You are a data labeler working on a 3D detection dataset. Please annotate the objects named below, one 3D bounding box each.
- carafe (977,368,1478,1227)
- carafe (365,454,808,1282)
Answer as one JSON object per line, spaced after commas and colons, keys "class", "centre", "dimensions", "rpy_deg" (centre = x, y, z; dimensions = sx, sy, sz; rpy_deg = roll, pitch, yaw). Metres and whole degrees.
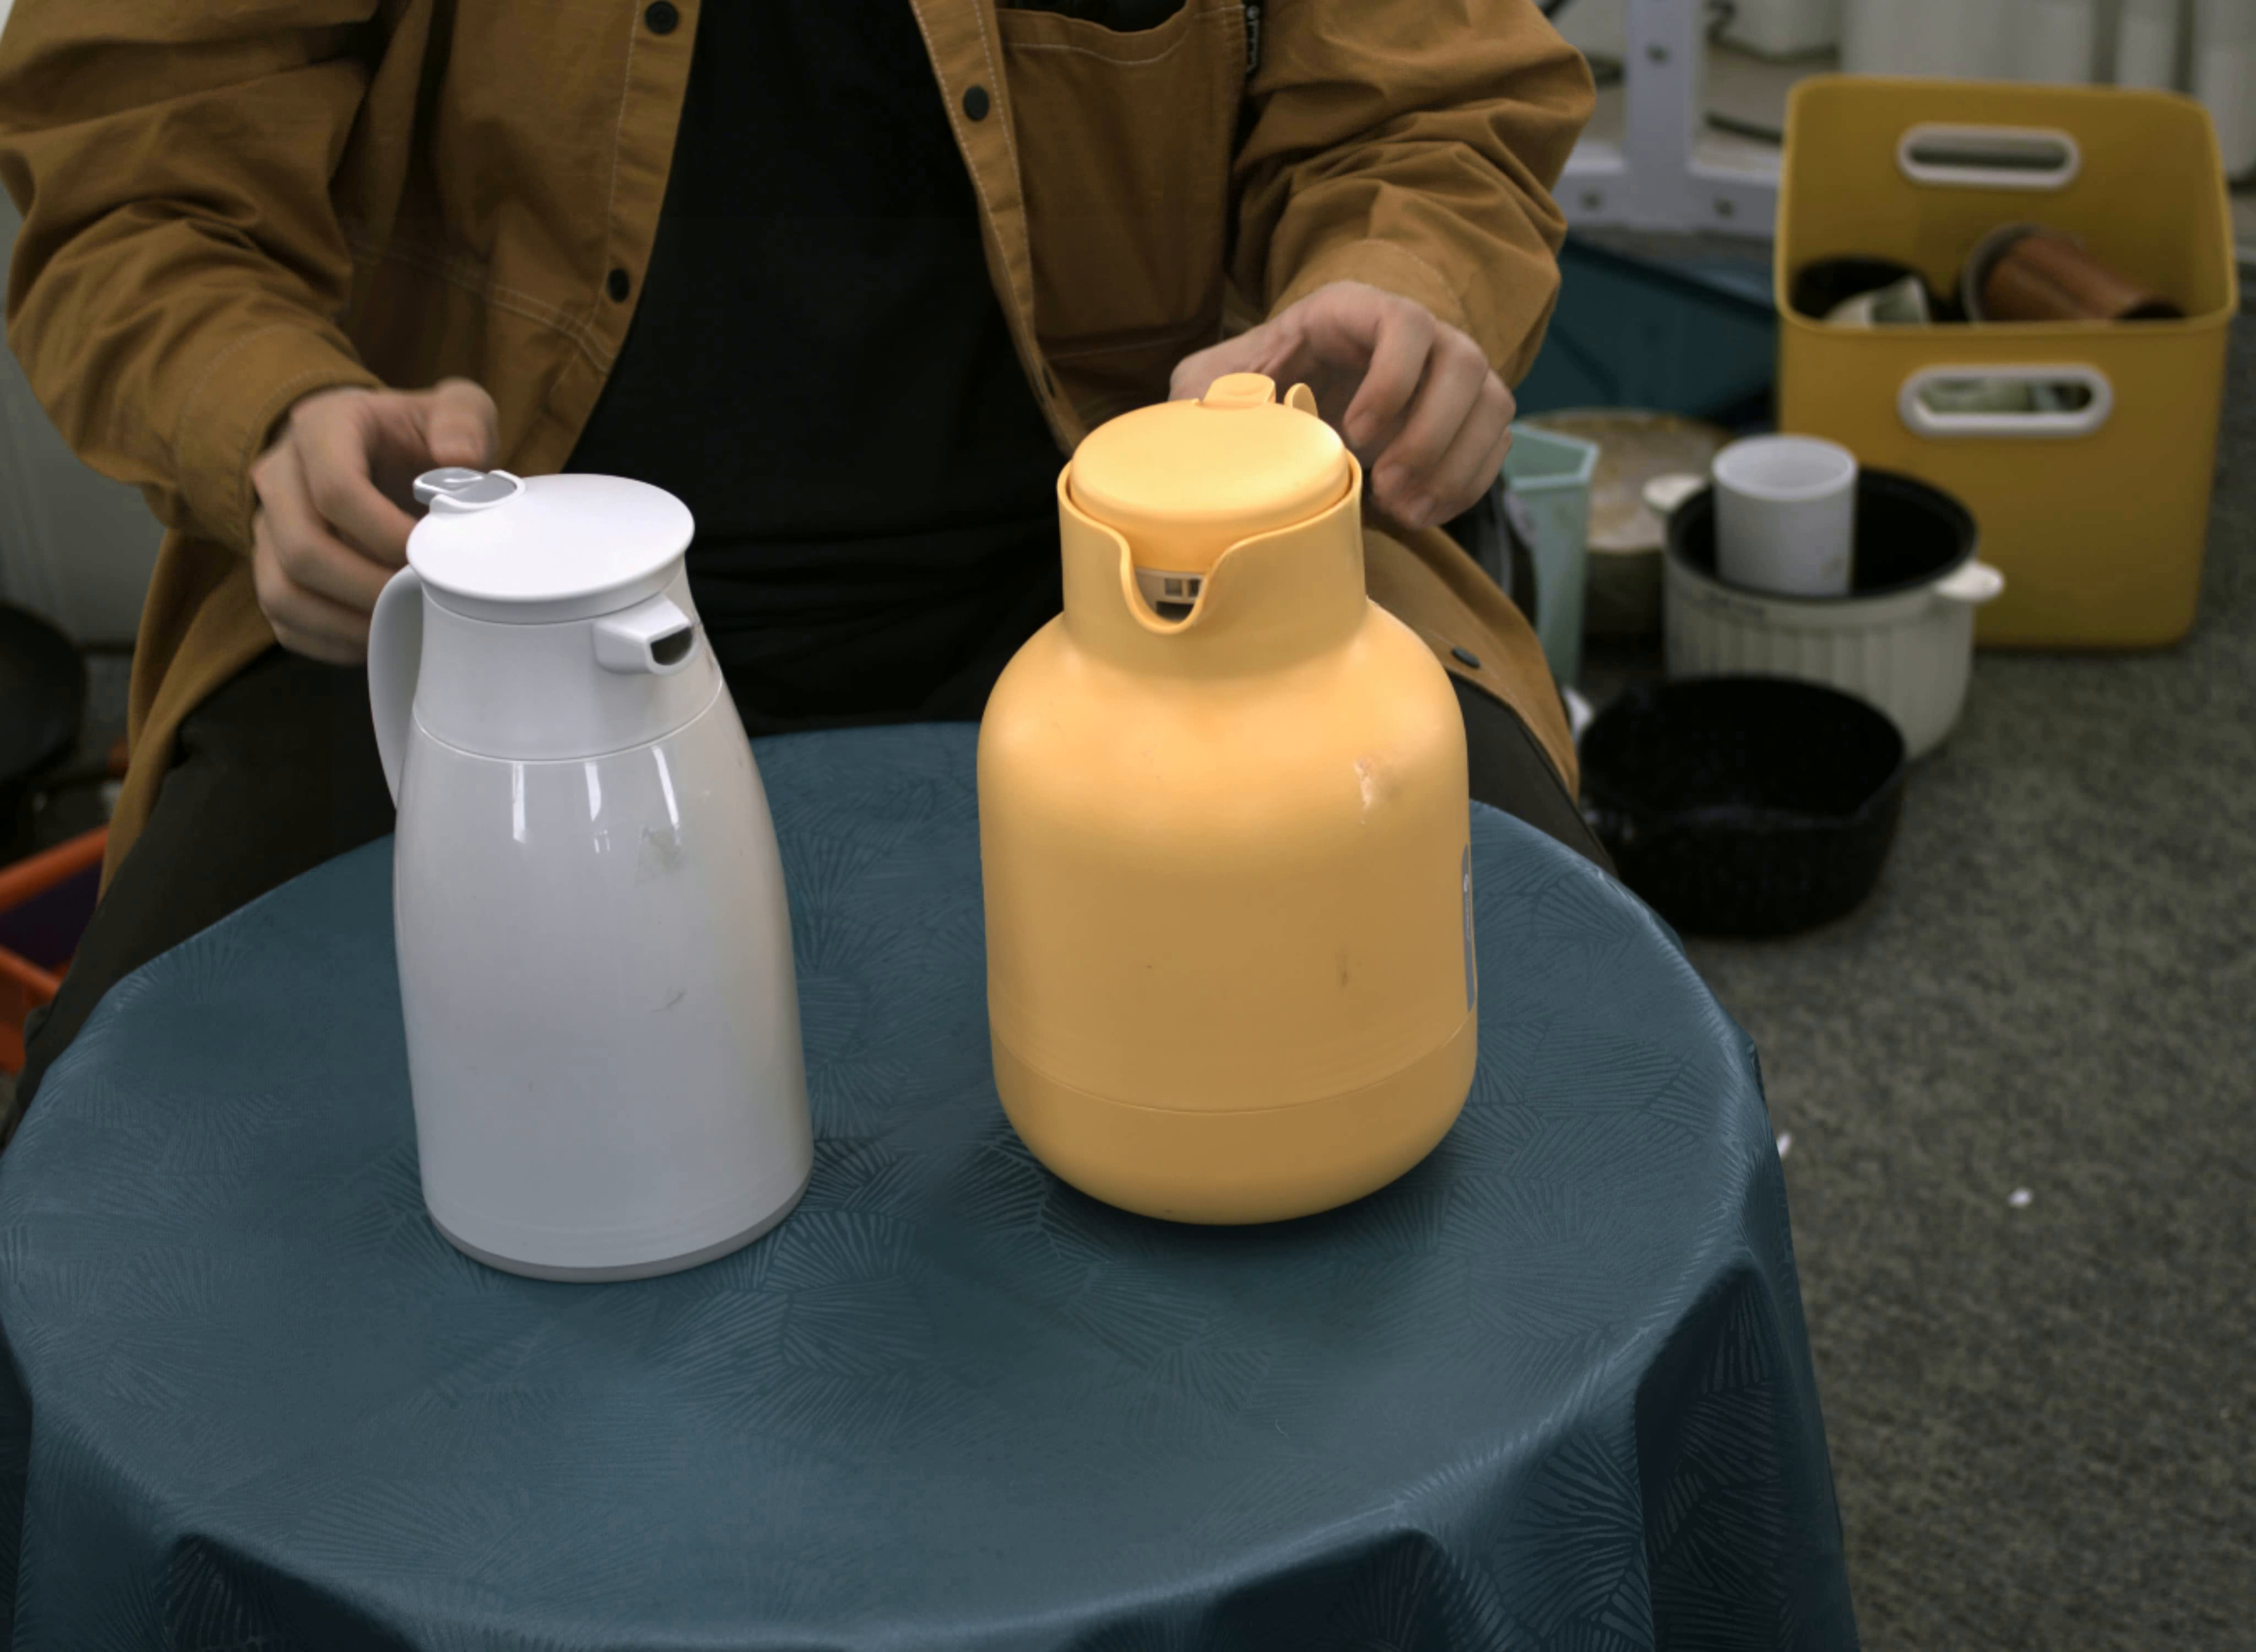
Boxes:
{"class": "carafe", "centre": [0.037, -0.019, 1.848], "dimensions": [0.162, 0.257, 0.206], "rpy_deg": [5, 29, 13]}
{"class": "carafe", "centre": [-0.191, 0.004, 1.839], "dimensions": [0.134, 0.246, 0.167], "rpy_deg": [-24, 33, -36]}
